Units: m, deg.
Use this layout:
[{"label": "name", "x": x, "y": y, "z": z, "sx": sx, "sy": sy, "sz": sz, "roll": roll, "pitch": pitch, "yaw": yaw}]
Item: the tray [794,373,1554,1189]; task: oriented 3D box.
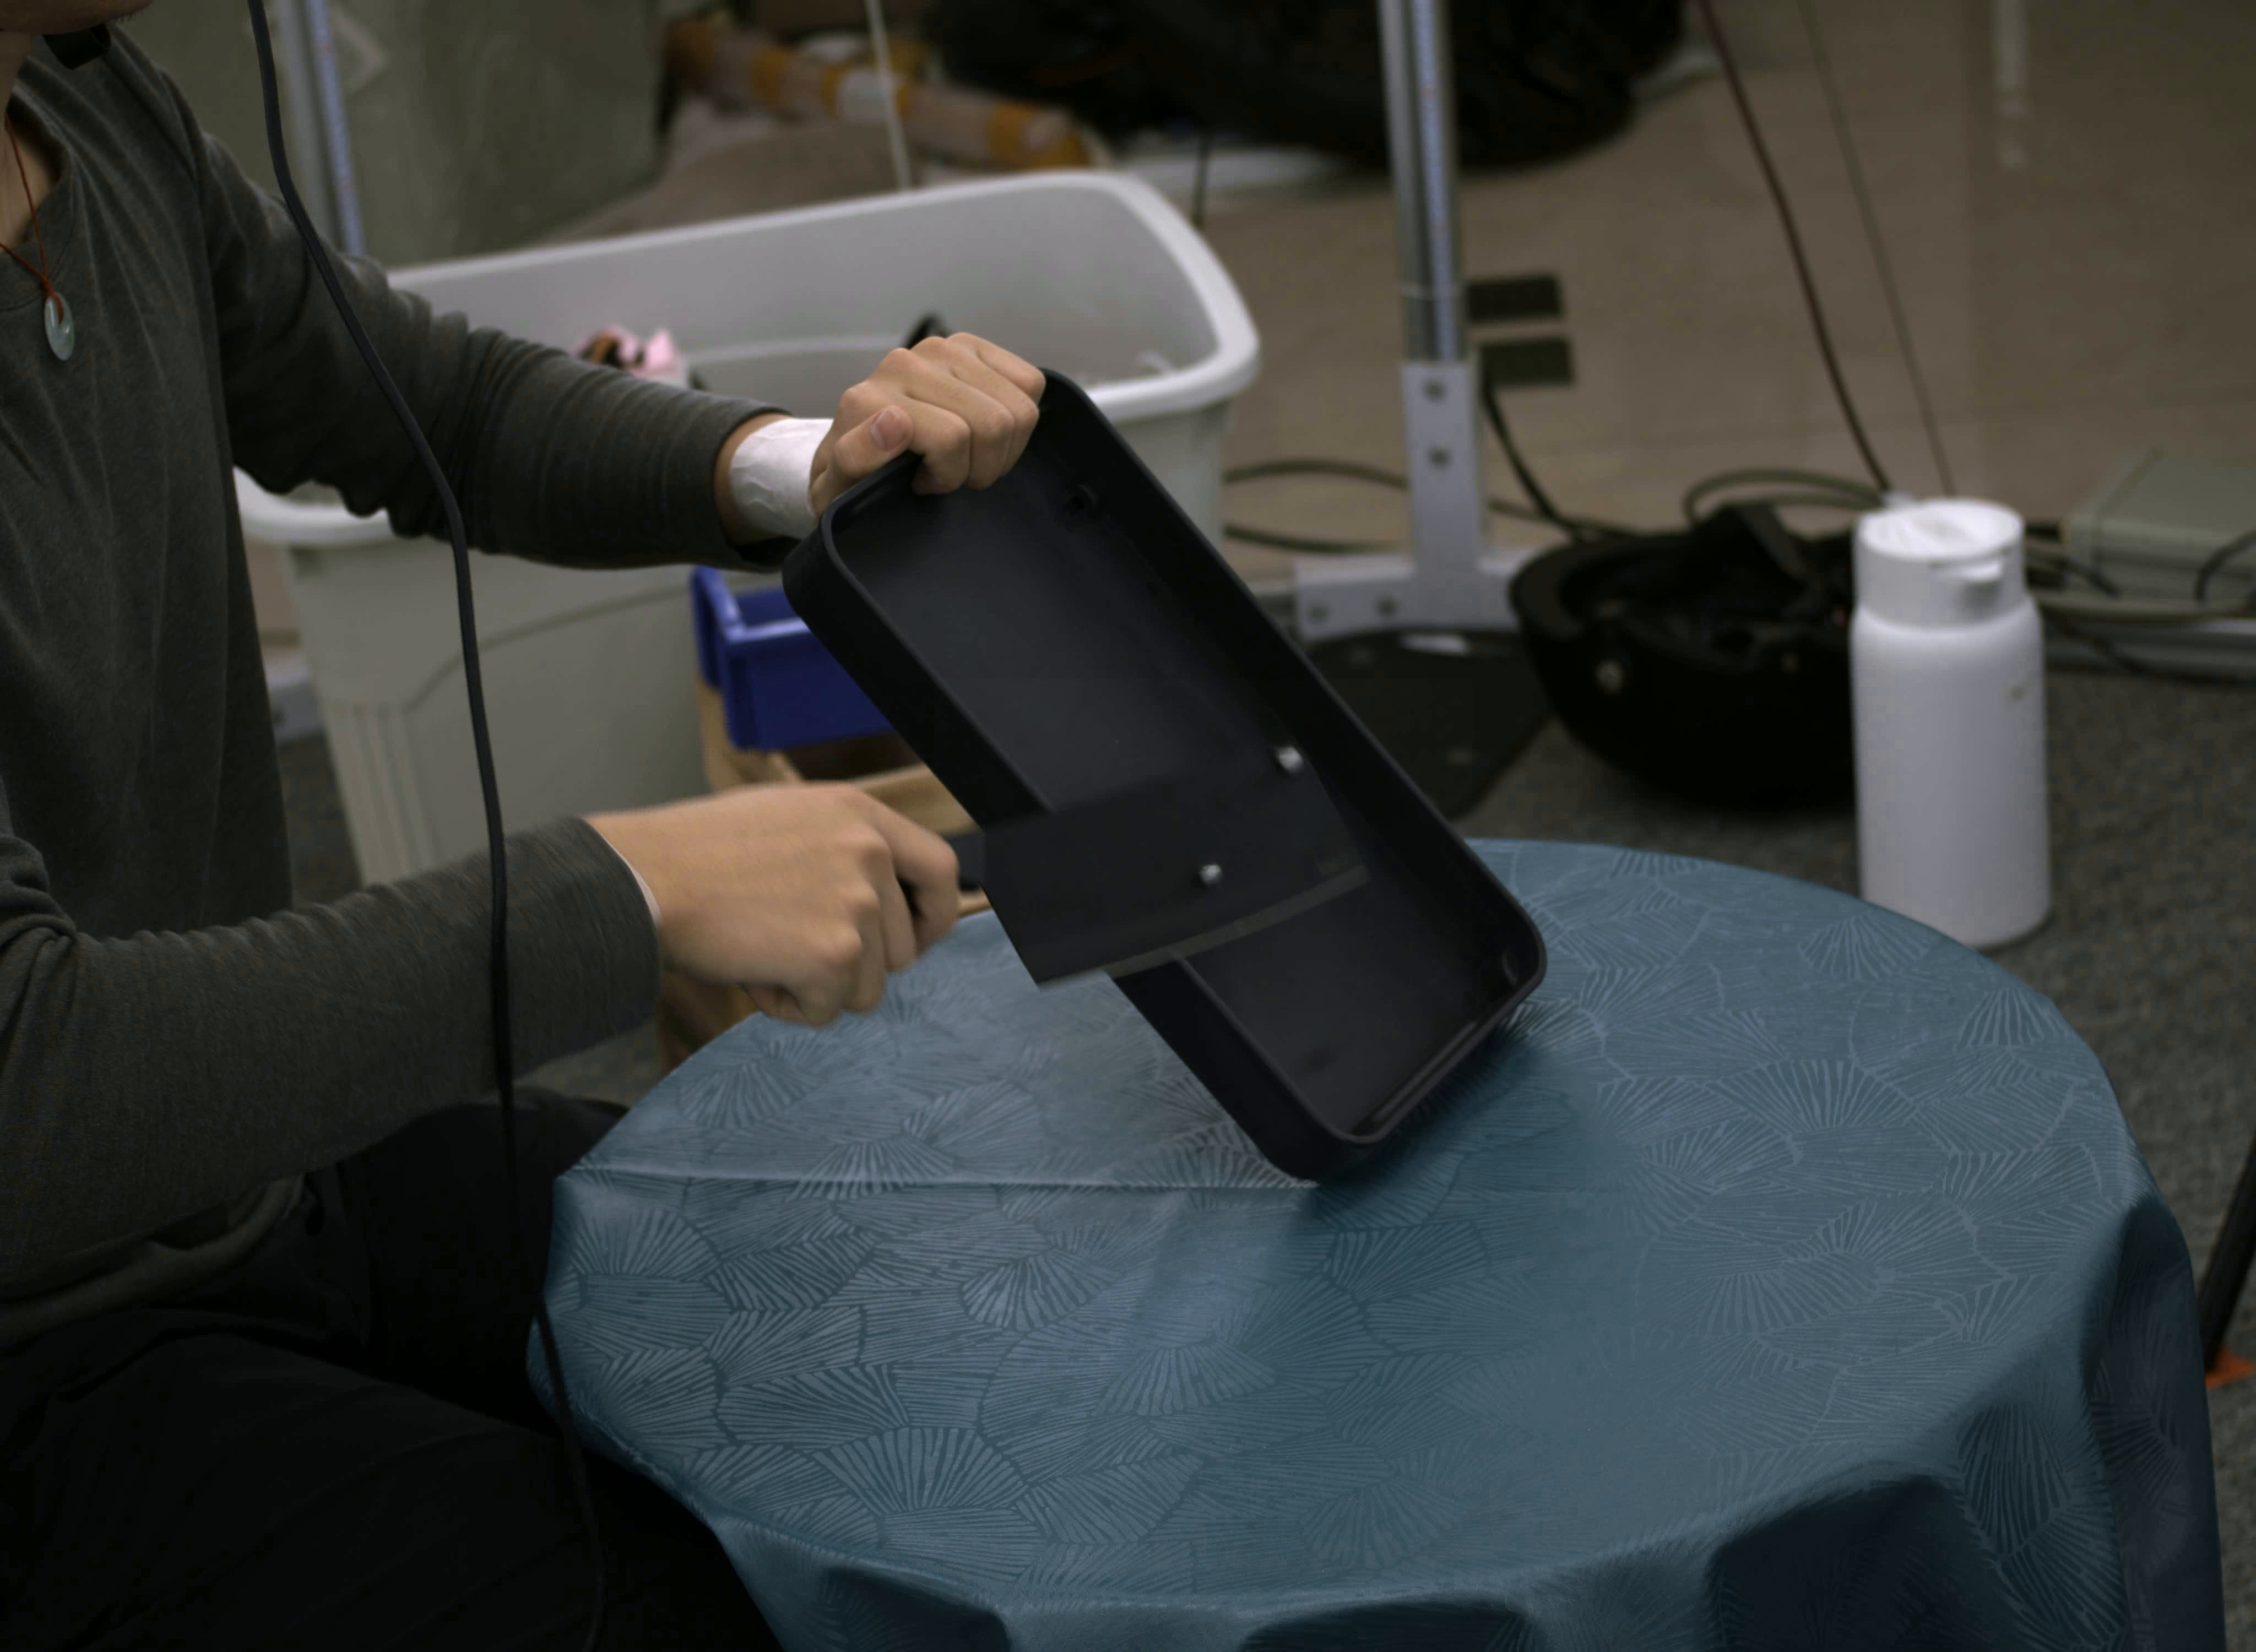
[{"label": "tray", "x": 0.020, "y": -0.020, "z": 2.184, "sx": 0.037, "sy": 0.318, "sz": 0.182, "roll": -39, "pitch": 4, "yaw": 39}]

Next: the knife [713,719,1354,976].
[{"label": "knife", "x": -0.032, "y": 0.016, "z": 2.090, "sx": 0.301, "sy": 0.080, "sz": 0.021, "roll": -12, "pitch": -20, "yaw": -41}]
